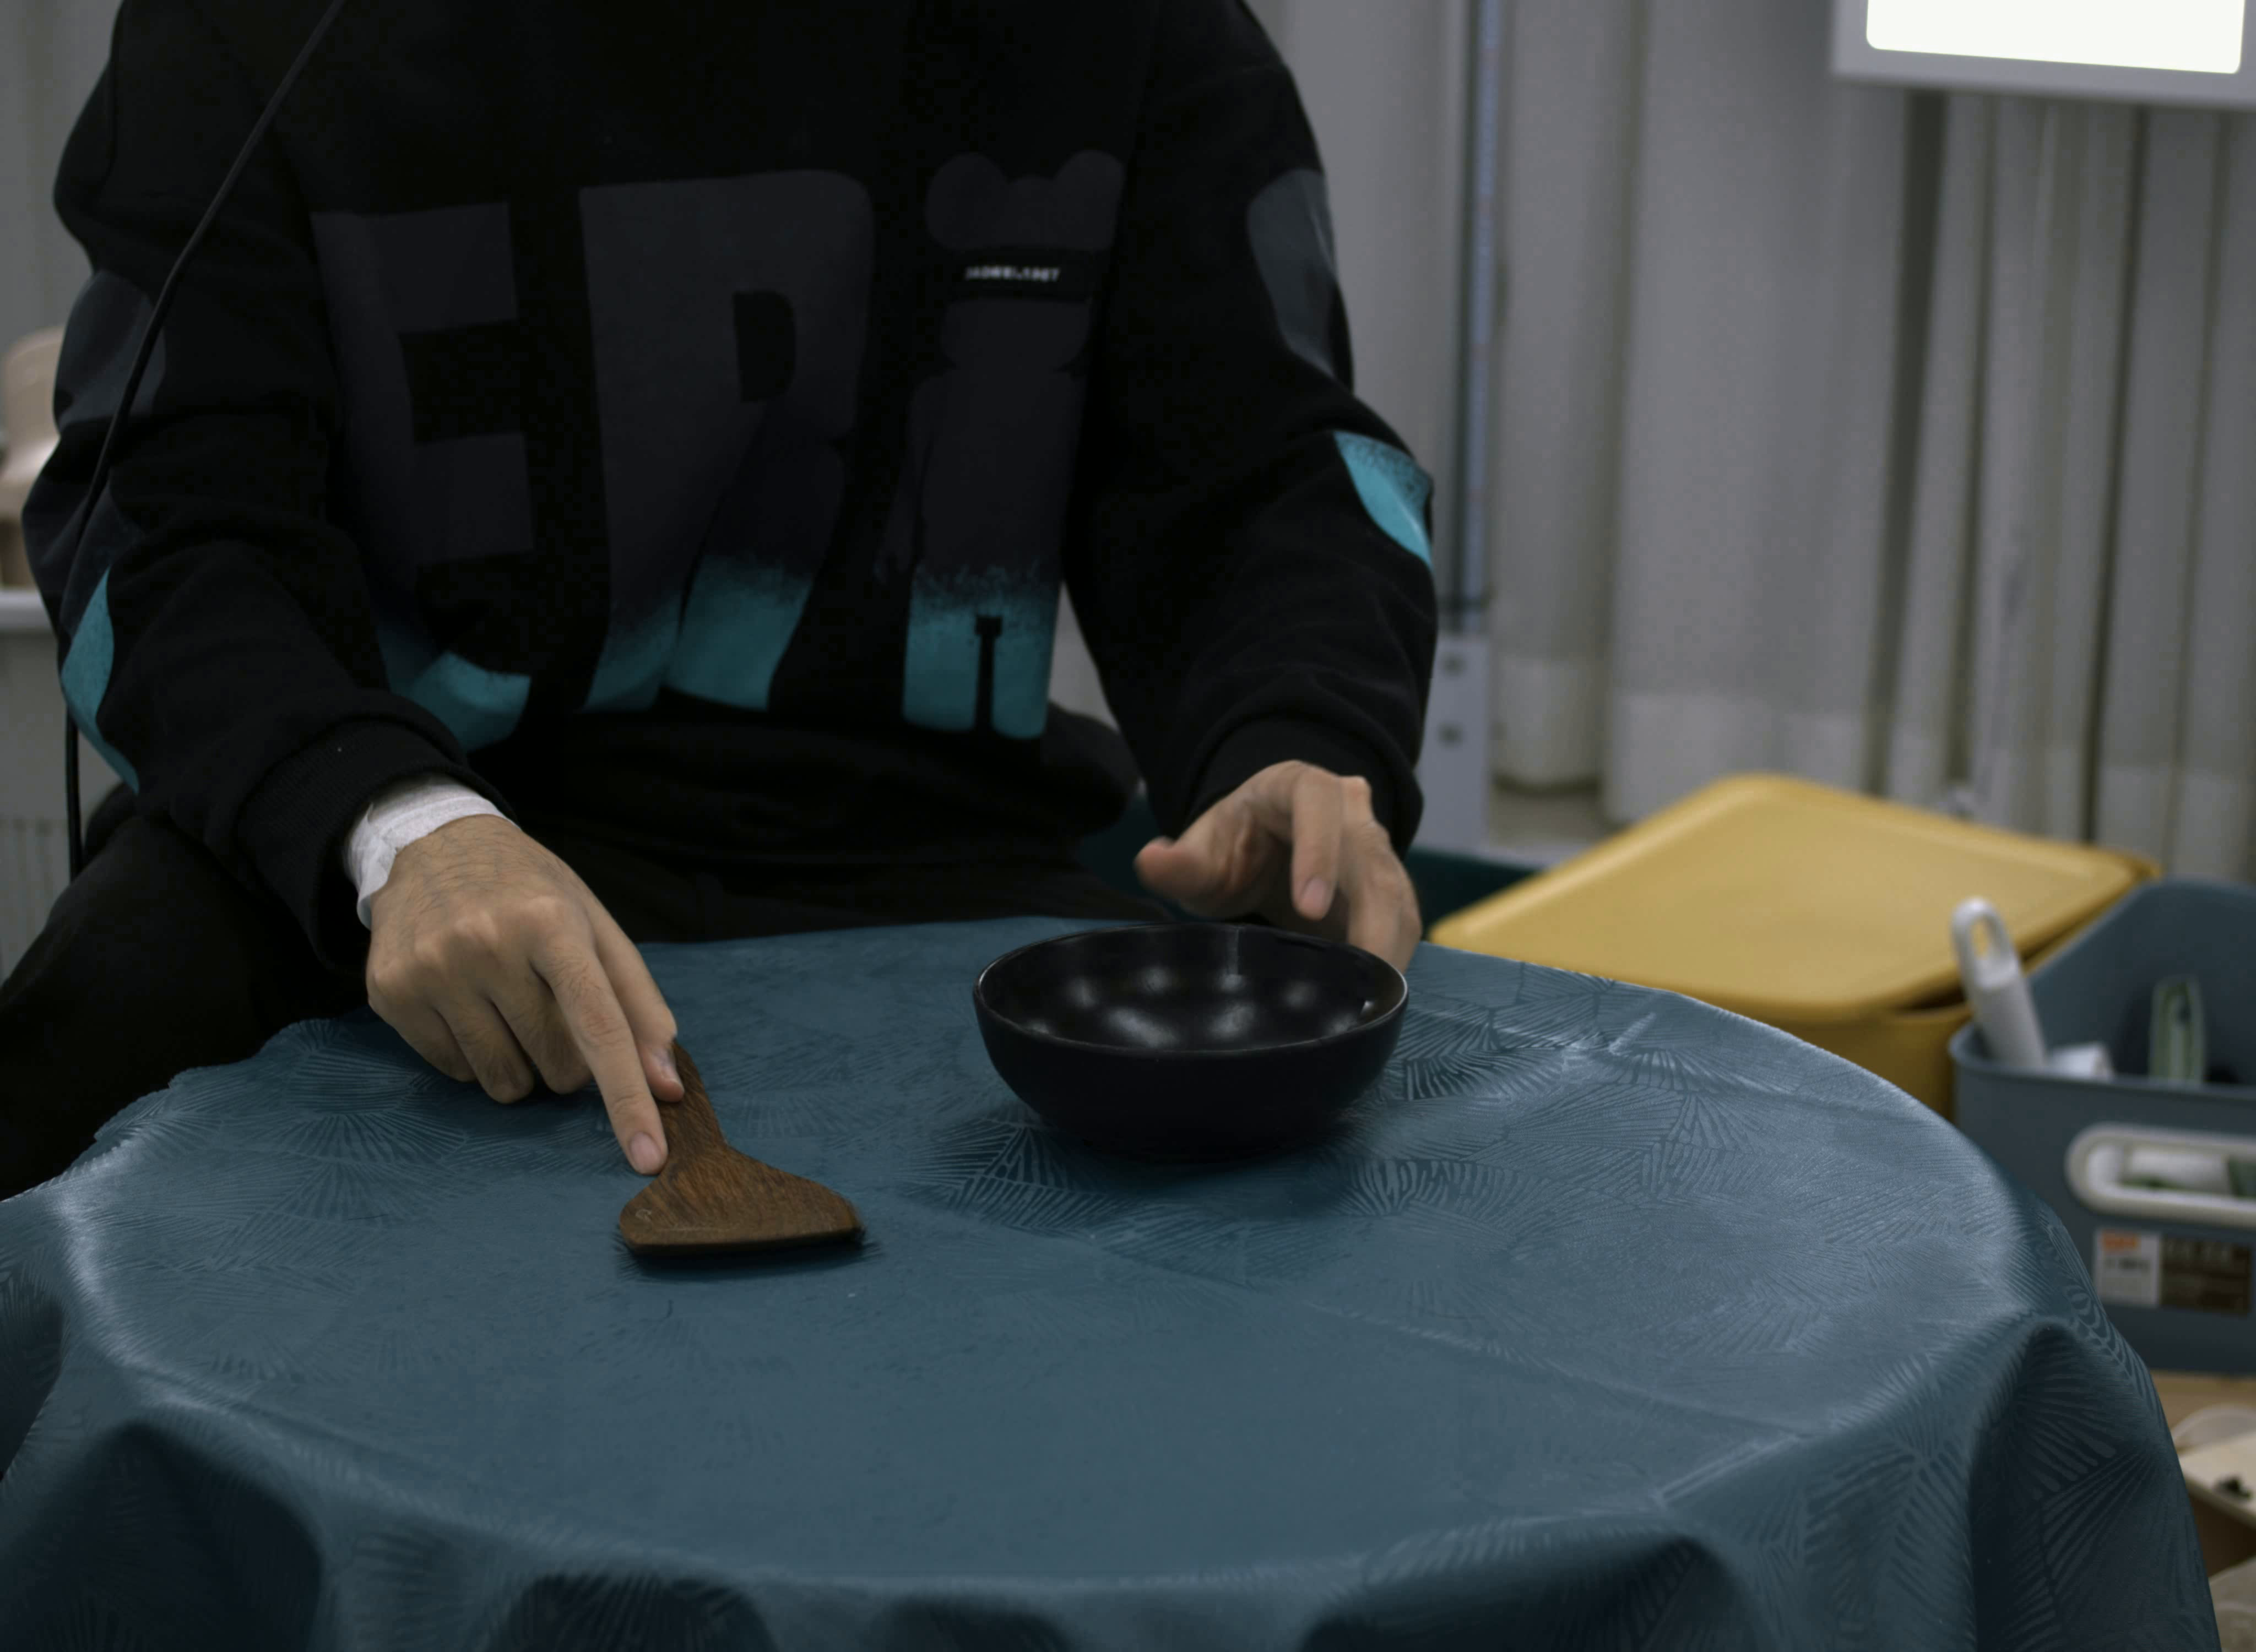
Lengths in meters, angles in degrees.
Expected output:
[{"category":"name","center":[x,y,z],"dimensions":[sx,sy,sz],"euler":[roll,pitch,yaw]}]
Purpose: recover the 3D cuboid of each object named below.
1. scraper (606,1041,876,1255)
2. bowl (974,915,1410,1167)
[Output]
[{"category":"scraper","center":[-0.134,0.100,1.650],"dimensions":[0.076,0.011,0.209],"euler":[-2,15,-14]},{"category":"bowl","center":[0.021,0.073,1.676],"dimensions":[0.139,0.050,0.139],"euler":[-2,17,1]}]
